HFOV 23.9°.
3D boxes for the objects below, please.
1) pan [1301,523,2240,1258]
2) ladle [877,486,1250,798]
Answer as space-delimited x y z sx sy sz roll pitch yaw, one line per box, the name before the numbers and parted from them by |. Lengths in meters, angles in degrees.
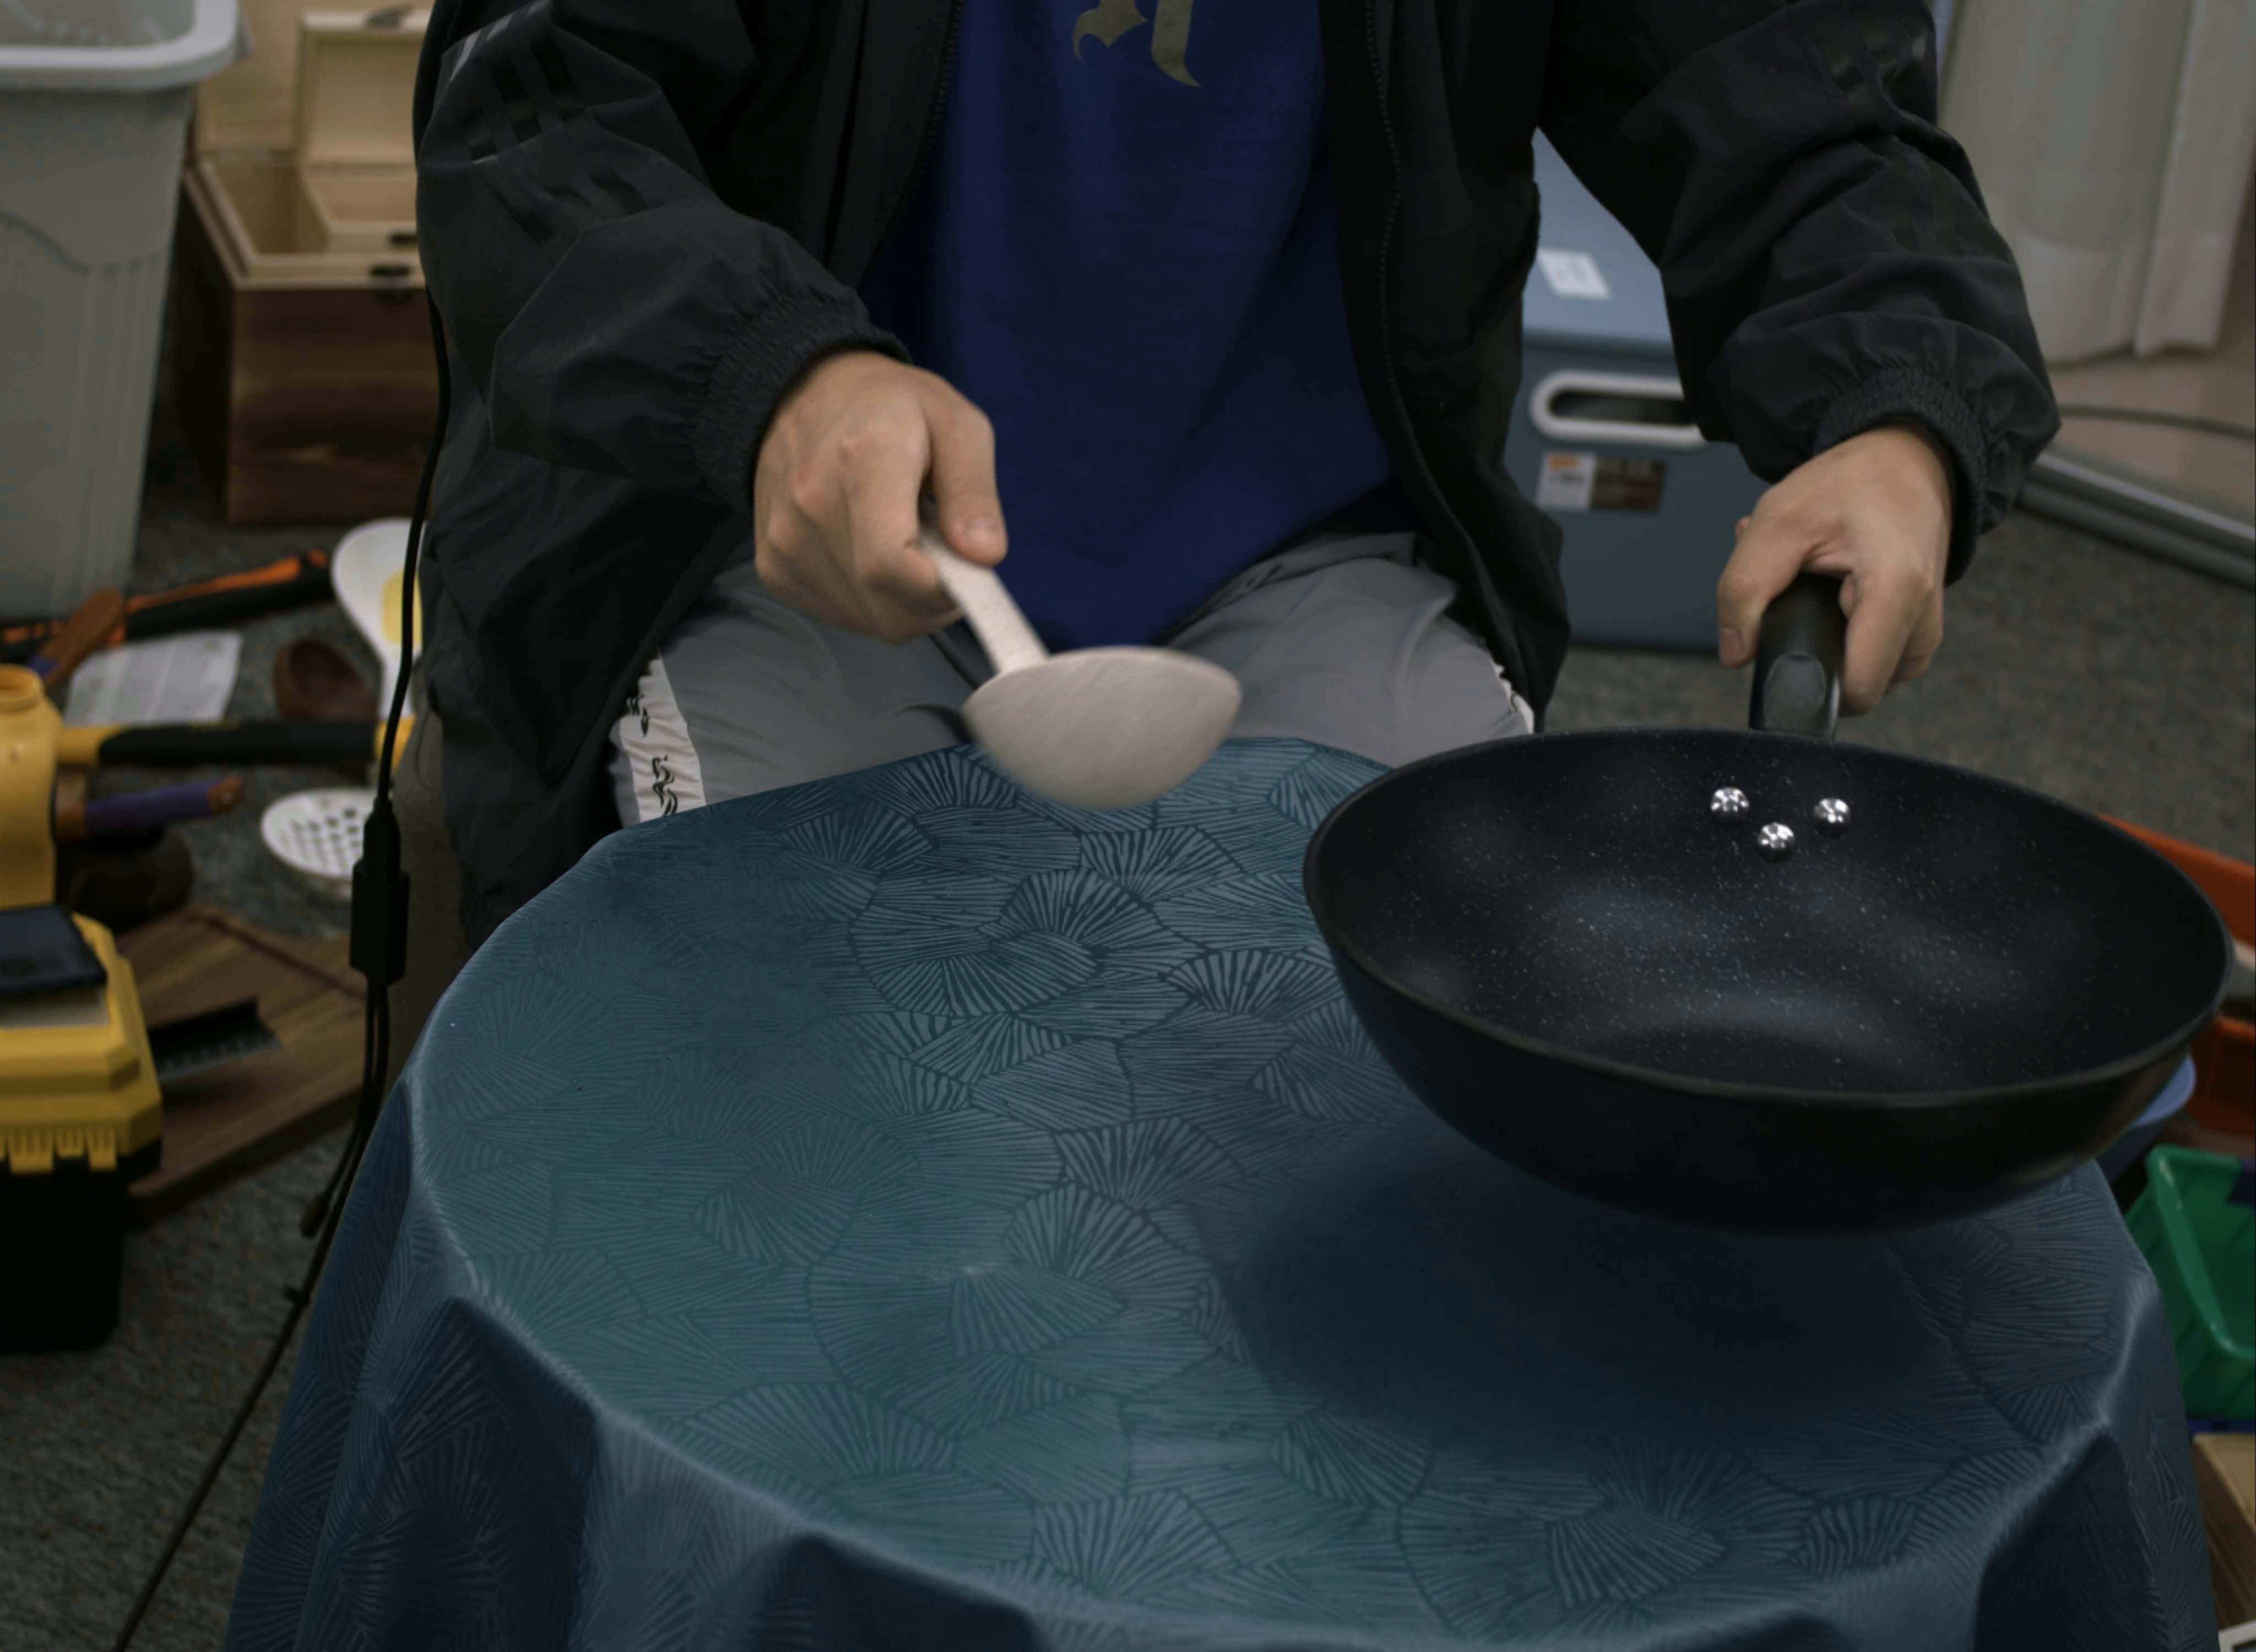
pan | 0.222 0.024 1.841 0.310 0.111 0.478 8 23 7
ladle | -0.037 -0.089 1.807 0.089 0.069 0.277 4 25 -21
